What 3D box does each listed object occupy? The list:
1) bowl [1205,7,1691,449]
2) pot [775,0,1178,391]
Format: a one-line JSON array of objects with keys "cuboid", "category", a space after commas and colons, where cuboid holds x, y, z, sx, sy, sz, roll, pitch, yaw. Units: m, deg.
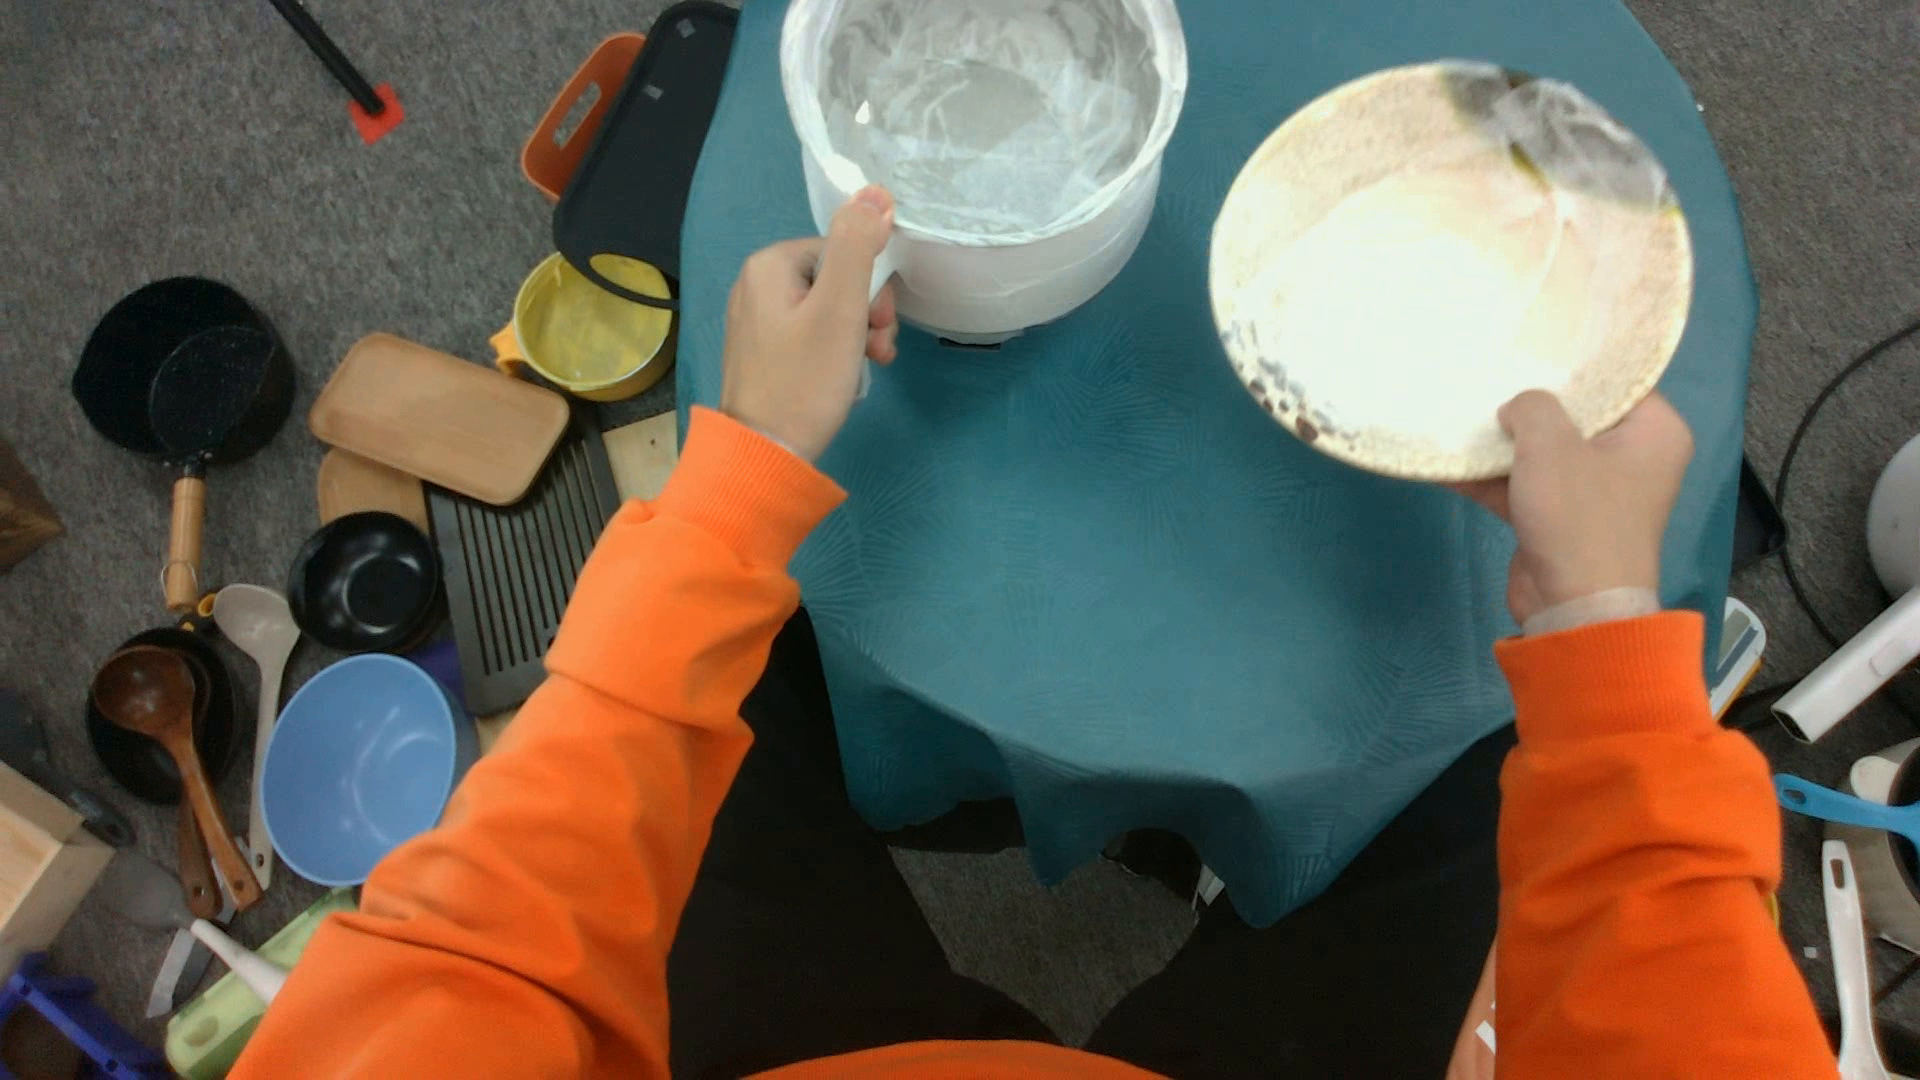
[{"cuboid": [0.219, -0.135, 0.641, 0.204, 0.078, 0.204, -2, 81, 12], "category": "bowl"}, {"cuboid": [-0.008, -0.181, 0.657, 0.179, 0.136, 0.234, 32, 78, 6], "category": "pot"}]
